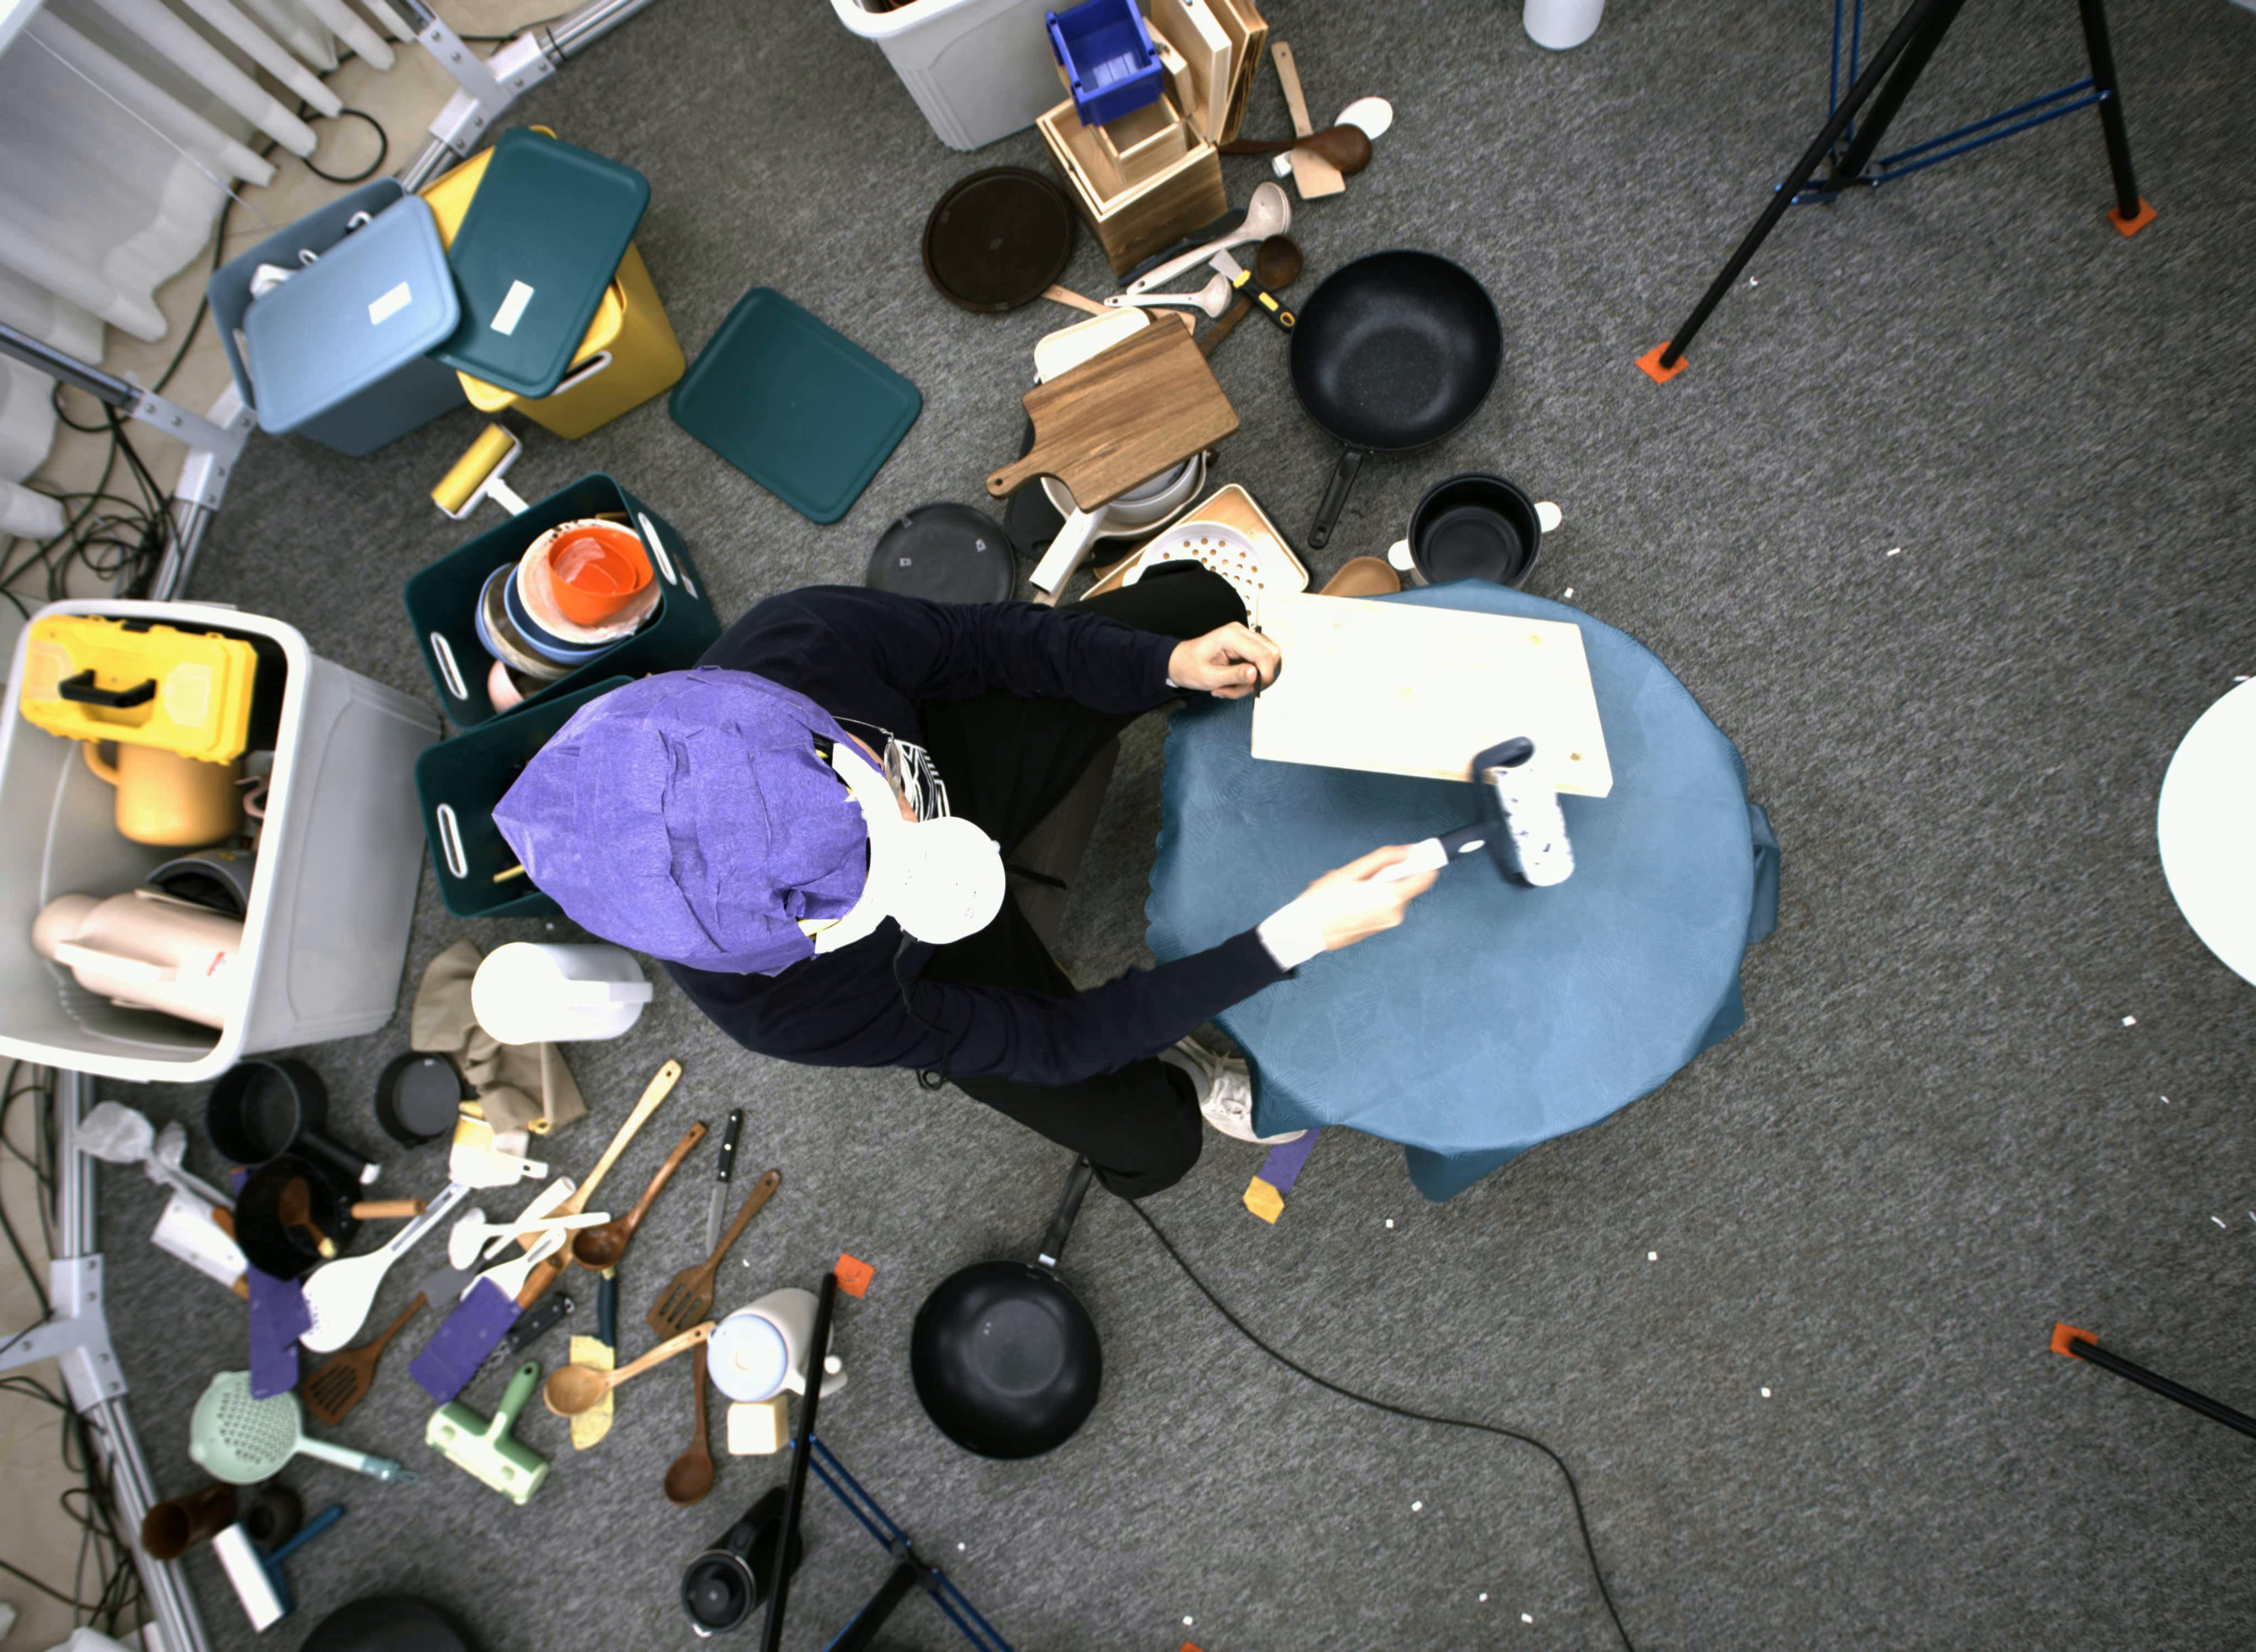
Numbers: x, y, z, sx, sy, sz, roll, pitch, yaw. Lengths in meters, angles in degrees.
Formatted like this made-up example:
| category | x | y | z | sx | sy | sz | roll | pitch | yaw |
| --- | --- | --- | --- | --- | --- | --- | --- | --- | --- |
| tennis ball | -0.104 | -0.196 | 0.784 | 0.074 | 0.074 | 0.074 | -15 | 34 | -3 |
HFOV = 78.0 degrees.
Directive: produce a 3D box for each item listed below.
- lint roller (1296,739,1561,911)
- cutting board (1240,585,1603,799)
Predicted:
| category | x | y | z | sx | sy | sz | roll | pitch | yaw |
| --- | --- | --- | --- | --- | --- | --- | --- | --- | --- |
| lint roller | 0.276 | 0.030 | 1.295 | 0.249 | 0.179 | 0.049 | -25 | 42 | 10 |
| cutting board | 0.287 | -0.139 | 1.358 | 0.349 | 0.024 | 0.244 | 6 | 48 | 0 |
